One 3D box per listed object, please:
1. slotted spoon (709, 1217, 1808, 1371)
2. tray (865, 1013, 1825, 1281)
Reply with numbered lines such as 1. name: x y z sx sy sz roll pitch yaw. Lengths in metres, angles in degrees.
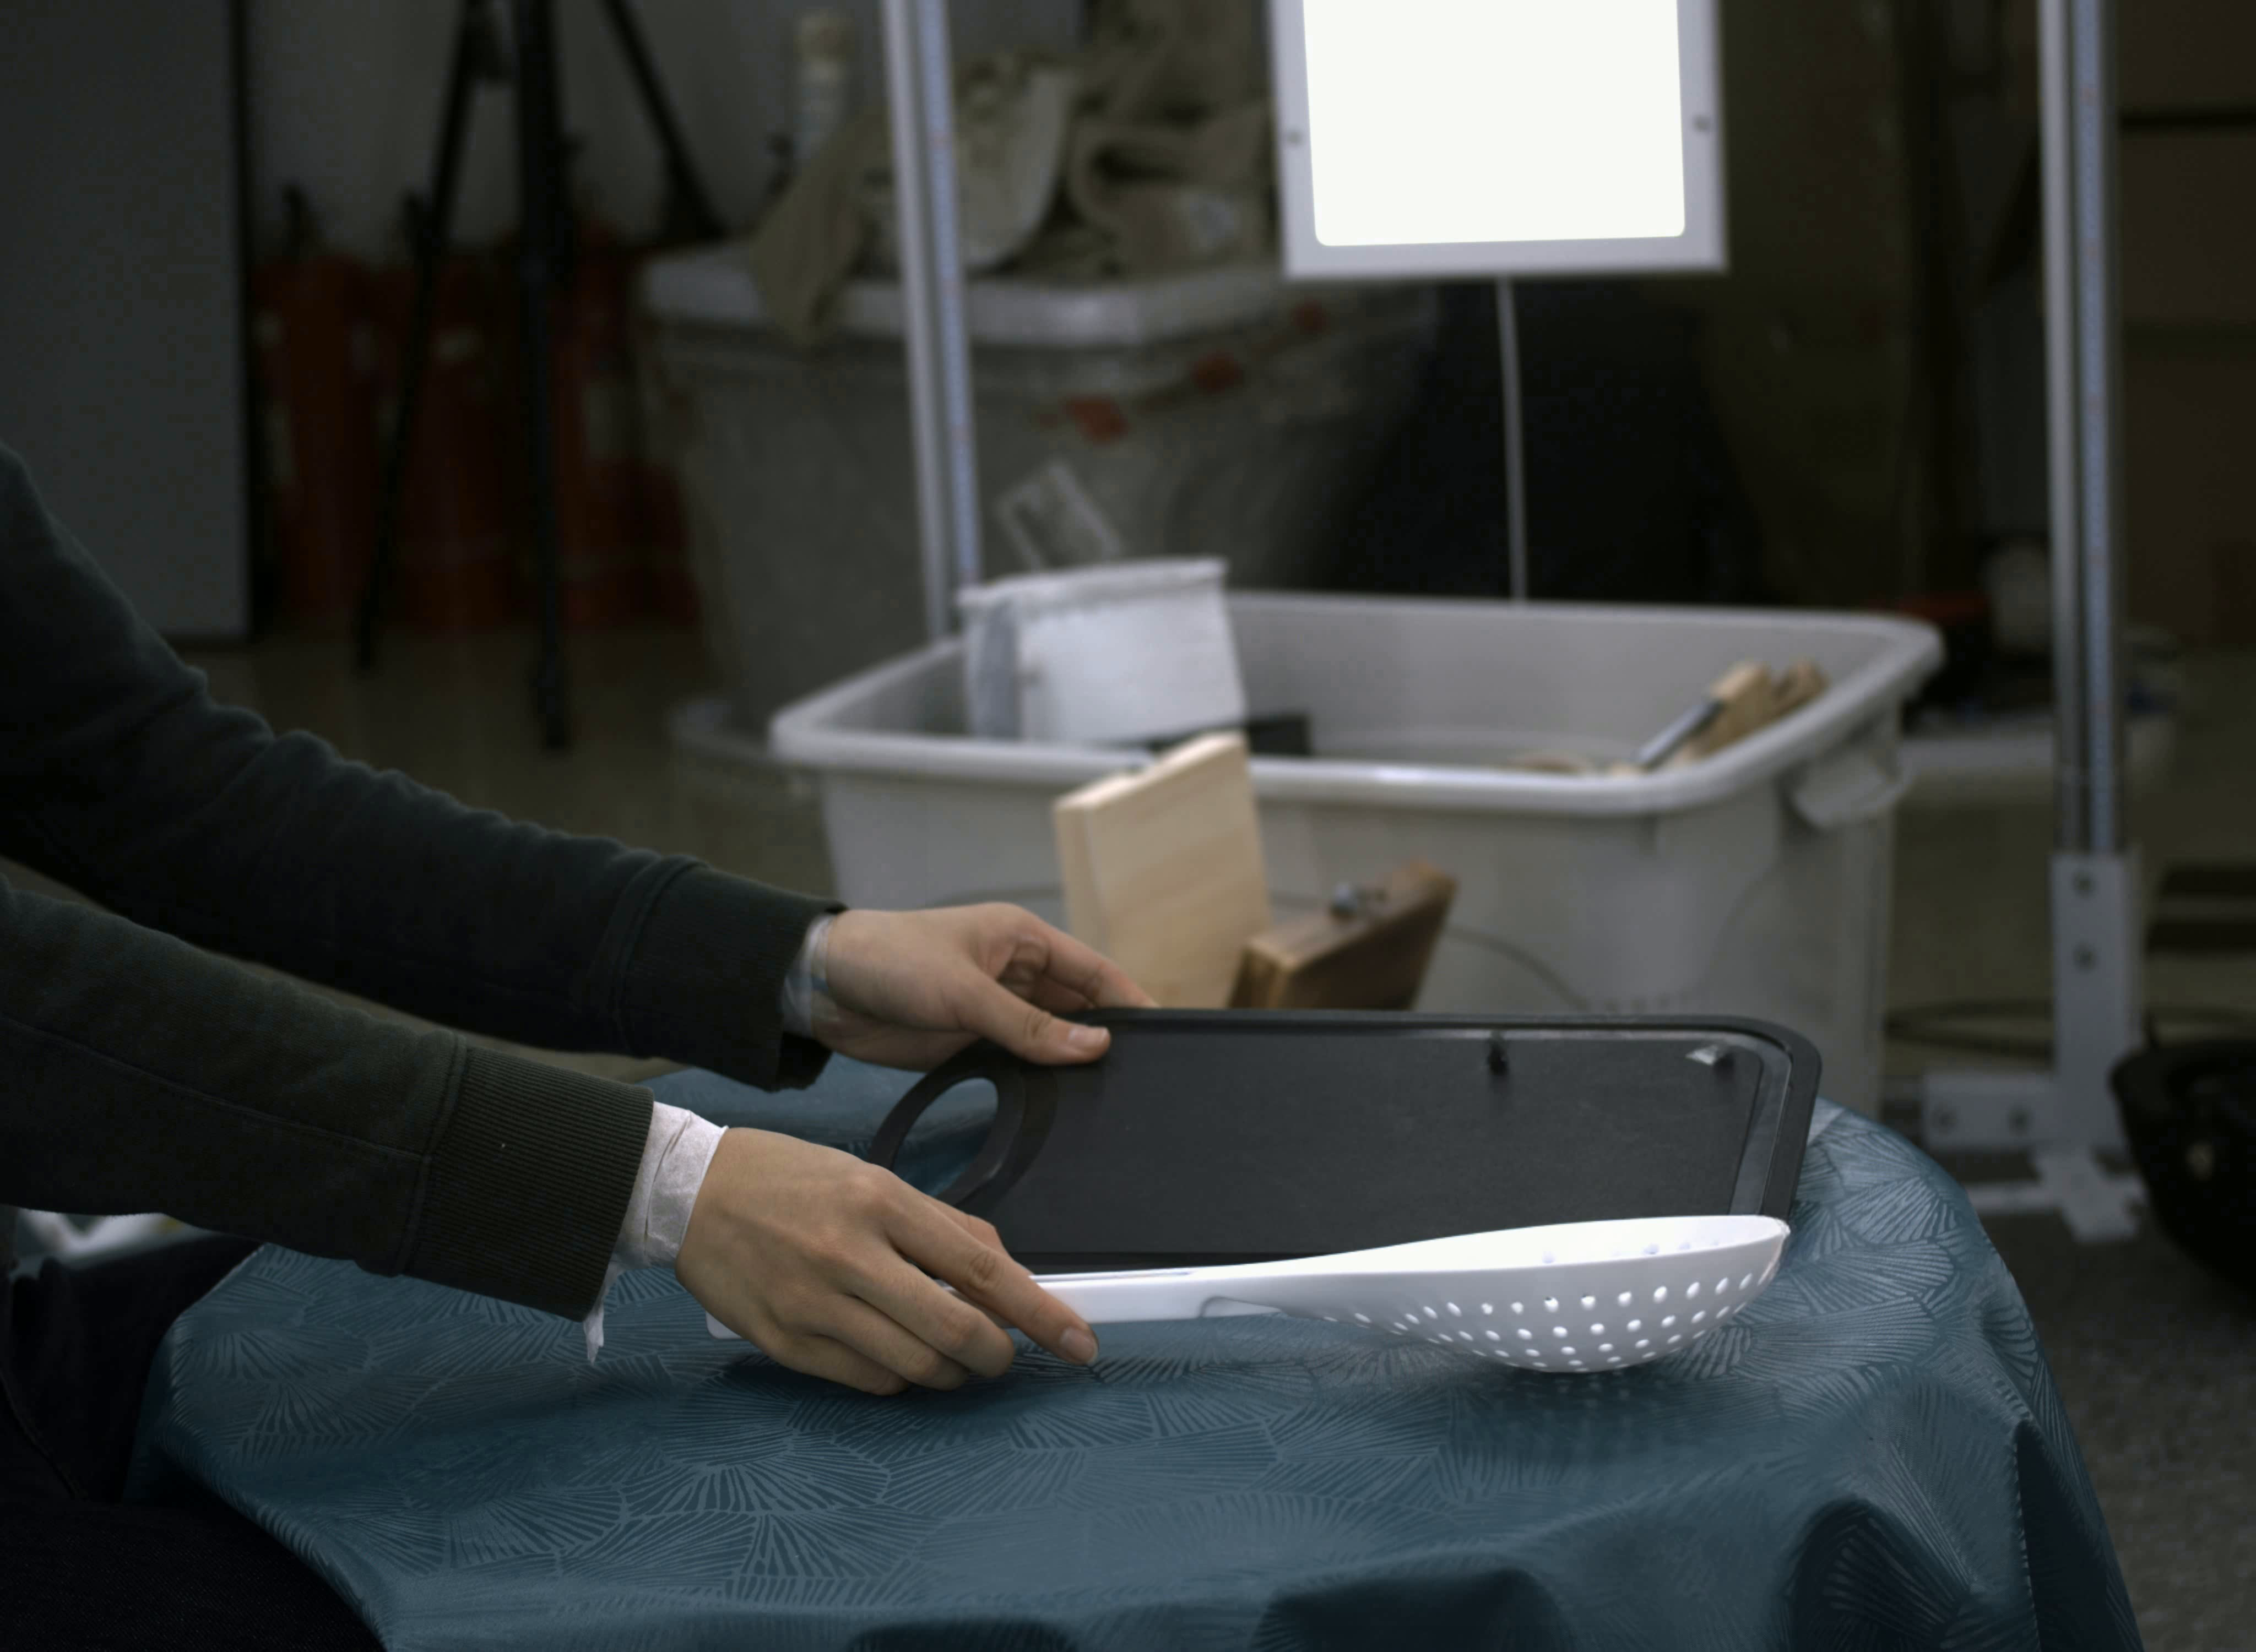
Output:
1. slotted spoon: 0.037 0.142 1.707 0.353 0.046 0.134 0 1 17
2. tray: 0.071 0.107 1.878 0.328 0.010 0.208 -1 22 15
